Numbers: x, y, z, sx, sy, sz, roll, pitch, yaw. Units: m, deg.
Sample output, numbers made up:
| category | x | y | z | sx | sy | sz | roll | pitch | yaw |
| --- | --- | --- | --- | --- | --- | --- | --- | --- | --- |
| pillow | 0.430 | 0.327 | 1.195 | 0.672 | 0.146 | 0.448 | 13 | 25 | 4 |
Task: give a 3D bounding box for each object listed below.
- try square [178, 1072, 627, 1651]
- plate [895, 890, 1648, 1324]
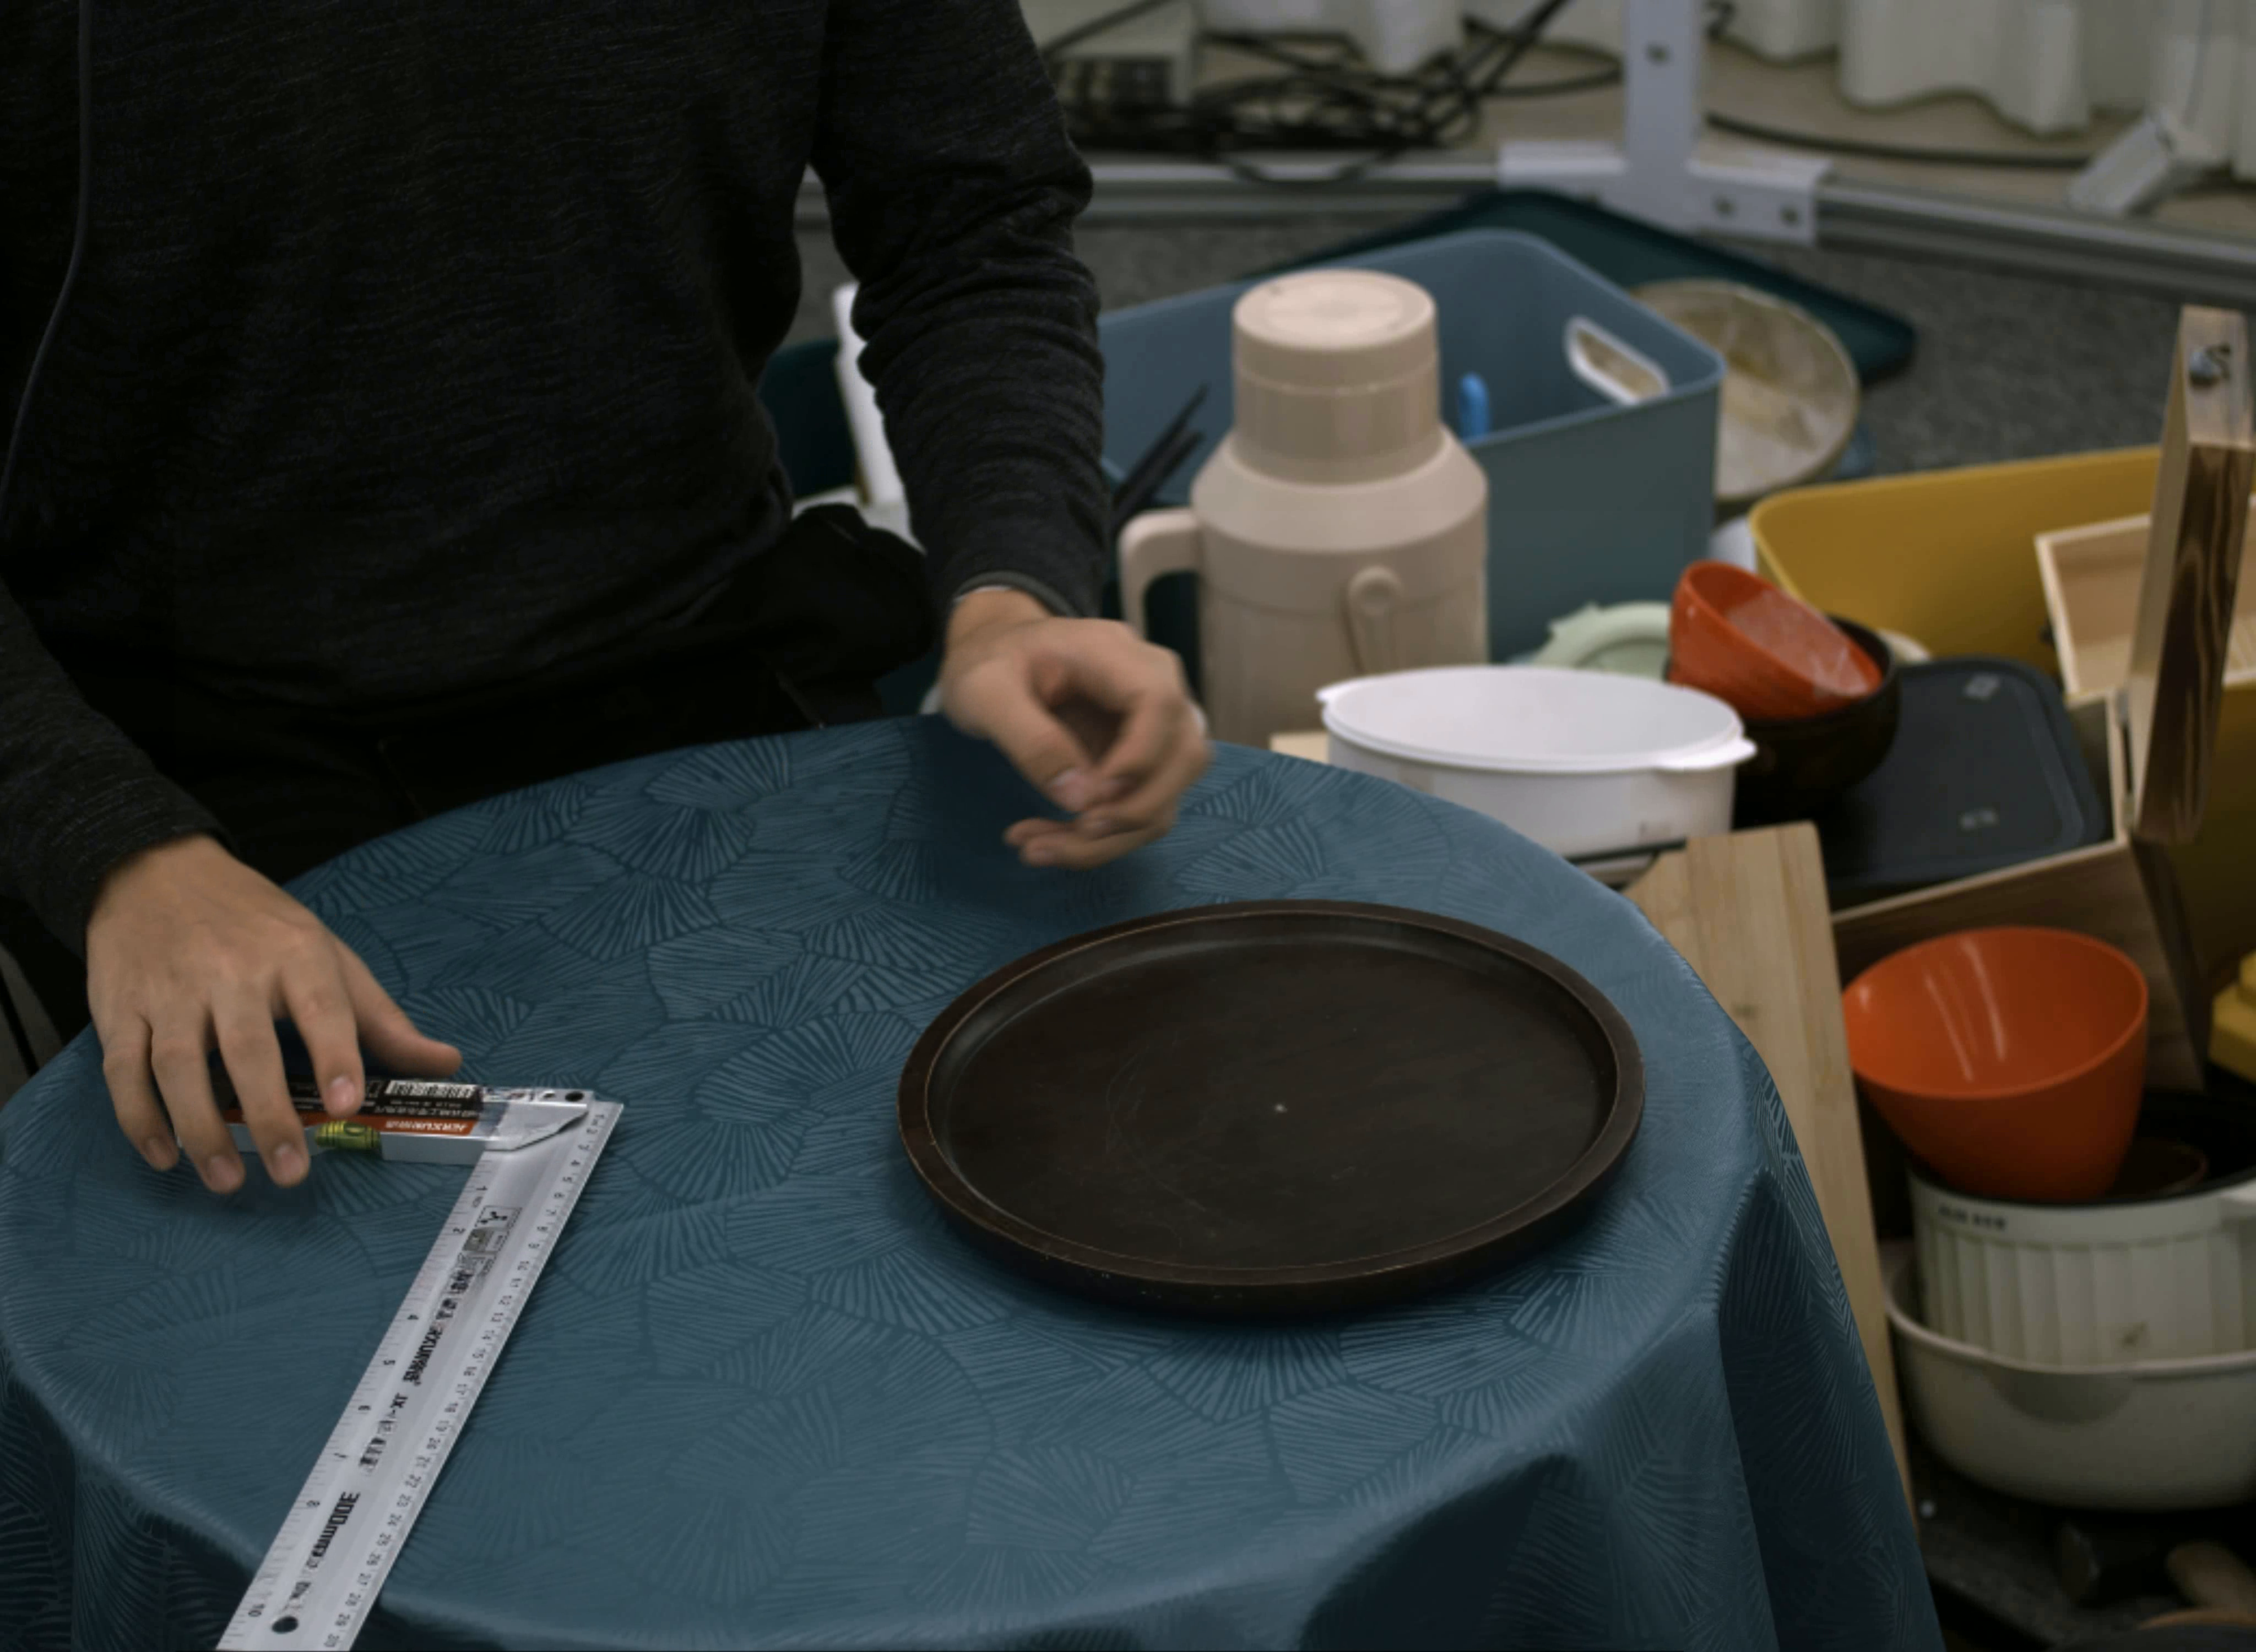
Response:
| category | x | y | z | sx | sy | sz | roll | pitch | yaw |
| --- | --- | --- | --- | --- | --- | --- | --- | --- | --- |
| try square | -0.272 | 0.167 | 1.794 | 0.151 | 0.016 | 0.318 | 2 | 29 | 11 |
| plate | 0.048 | 0.094 | 1.884 | 0.253 | 0.029 | 0.259 | -3 | 28 | 2 |
